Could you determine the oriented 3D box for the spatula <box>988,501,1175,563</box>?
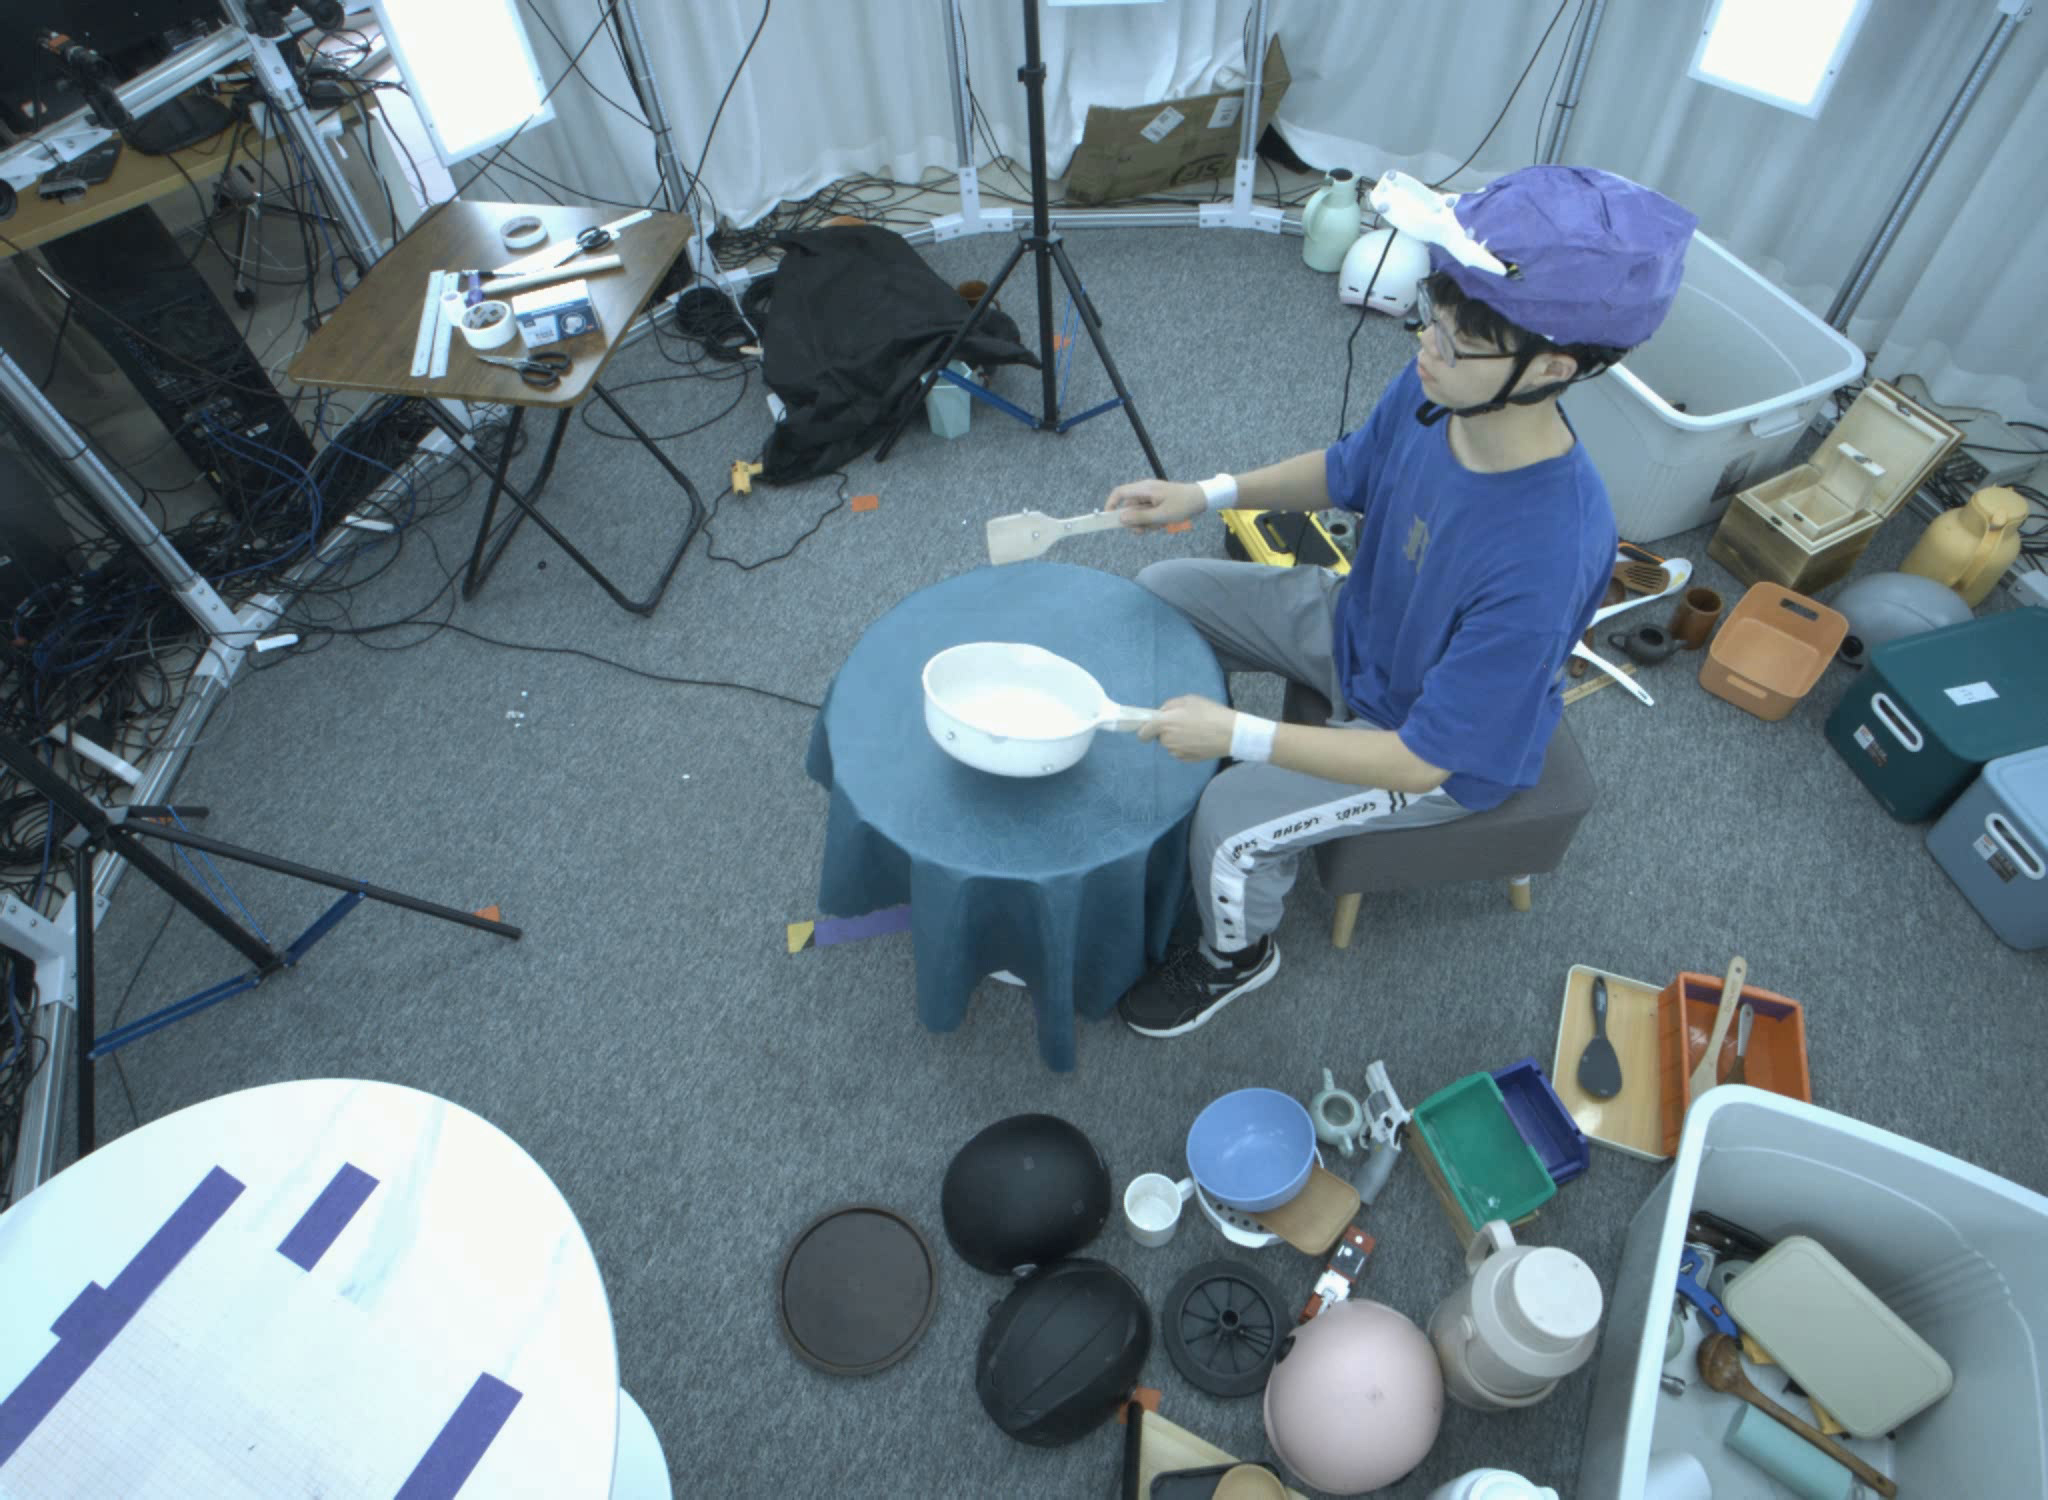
[{"bbox_3d":[0.088,-0.338,1.829,0.295,0.073,0.010,-12,25,-14],"label":"spatula"}]

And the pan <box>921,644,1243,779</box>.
[{"bbox_3d":[0.071,-0.035,1.663,0.435,0.102,0.262,13,31,1],"label":"pan"}]
